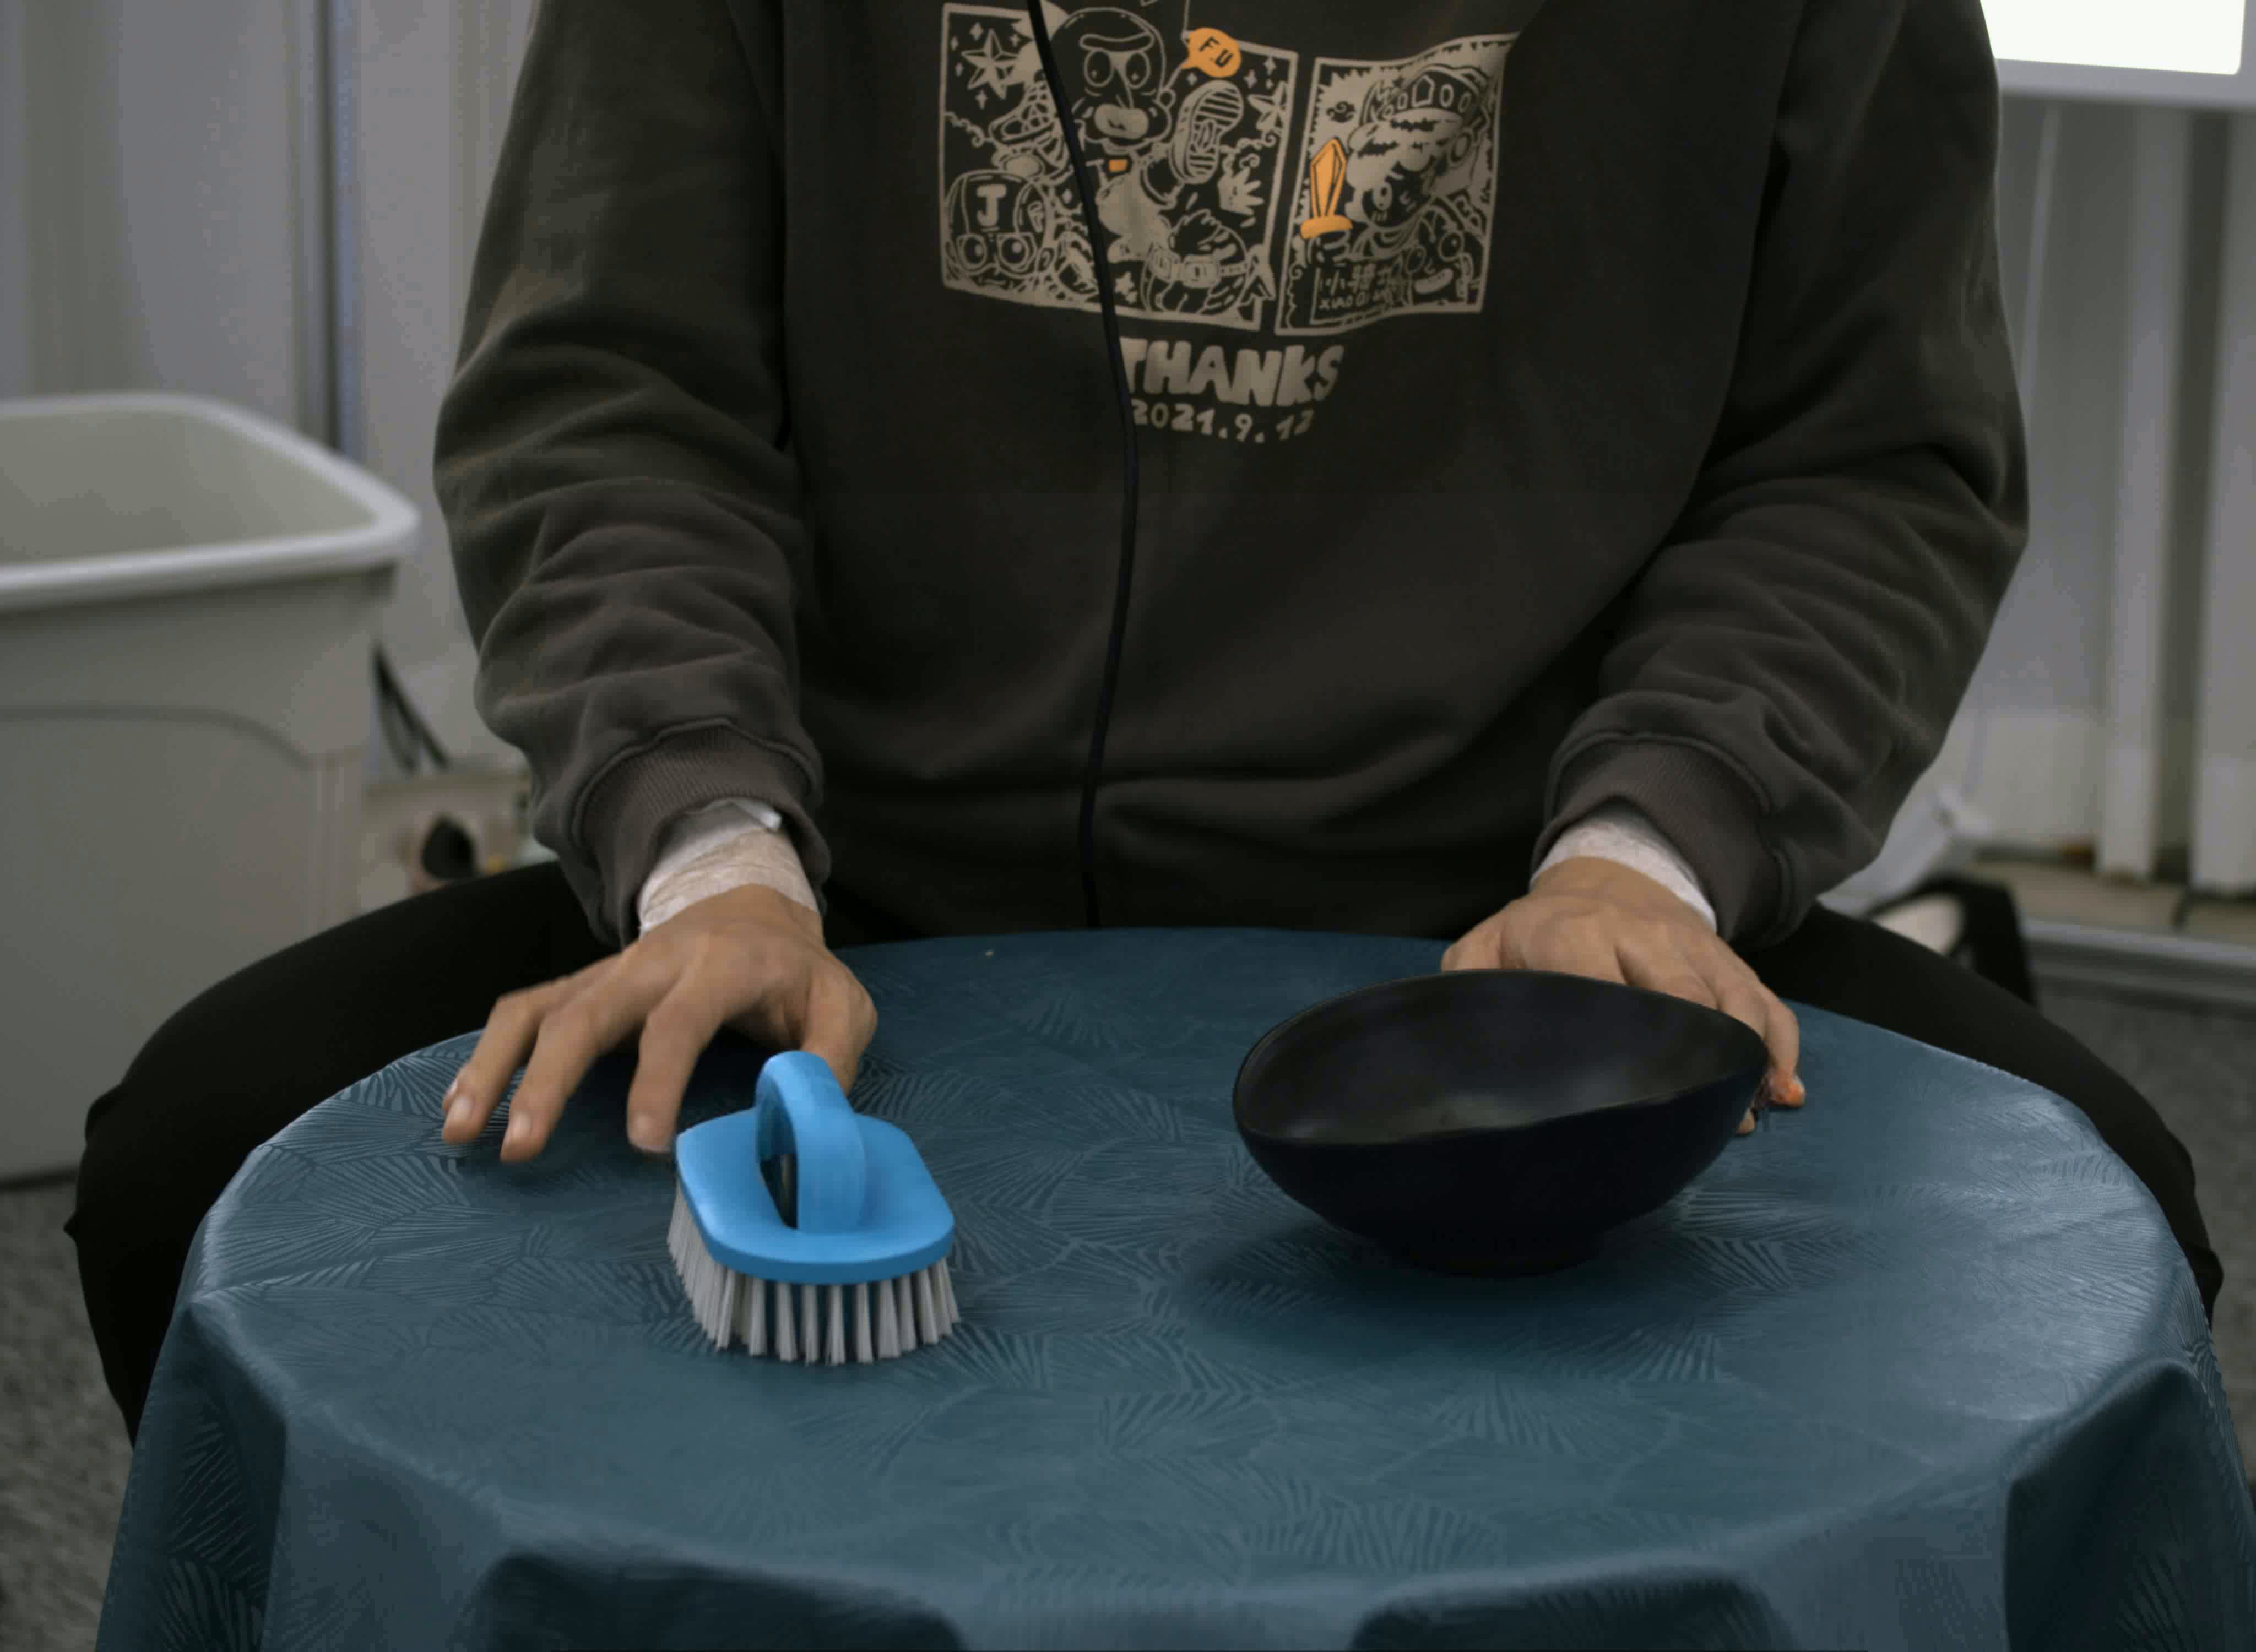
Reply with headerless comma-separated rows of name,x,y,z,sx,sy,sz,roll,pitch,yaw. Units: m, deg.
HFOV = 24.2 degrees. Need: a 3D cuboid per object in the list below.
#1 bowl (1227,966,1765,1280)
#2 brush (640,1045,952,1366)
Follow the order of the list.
bowl,0.111,0.095,1.581,0.171,0.067,0.135,-11,18,-30
brush,-0.096,0.103,1.537,0.084,0.064,0.140,2,16,-12
